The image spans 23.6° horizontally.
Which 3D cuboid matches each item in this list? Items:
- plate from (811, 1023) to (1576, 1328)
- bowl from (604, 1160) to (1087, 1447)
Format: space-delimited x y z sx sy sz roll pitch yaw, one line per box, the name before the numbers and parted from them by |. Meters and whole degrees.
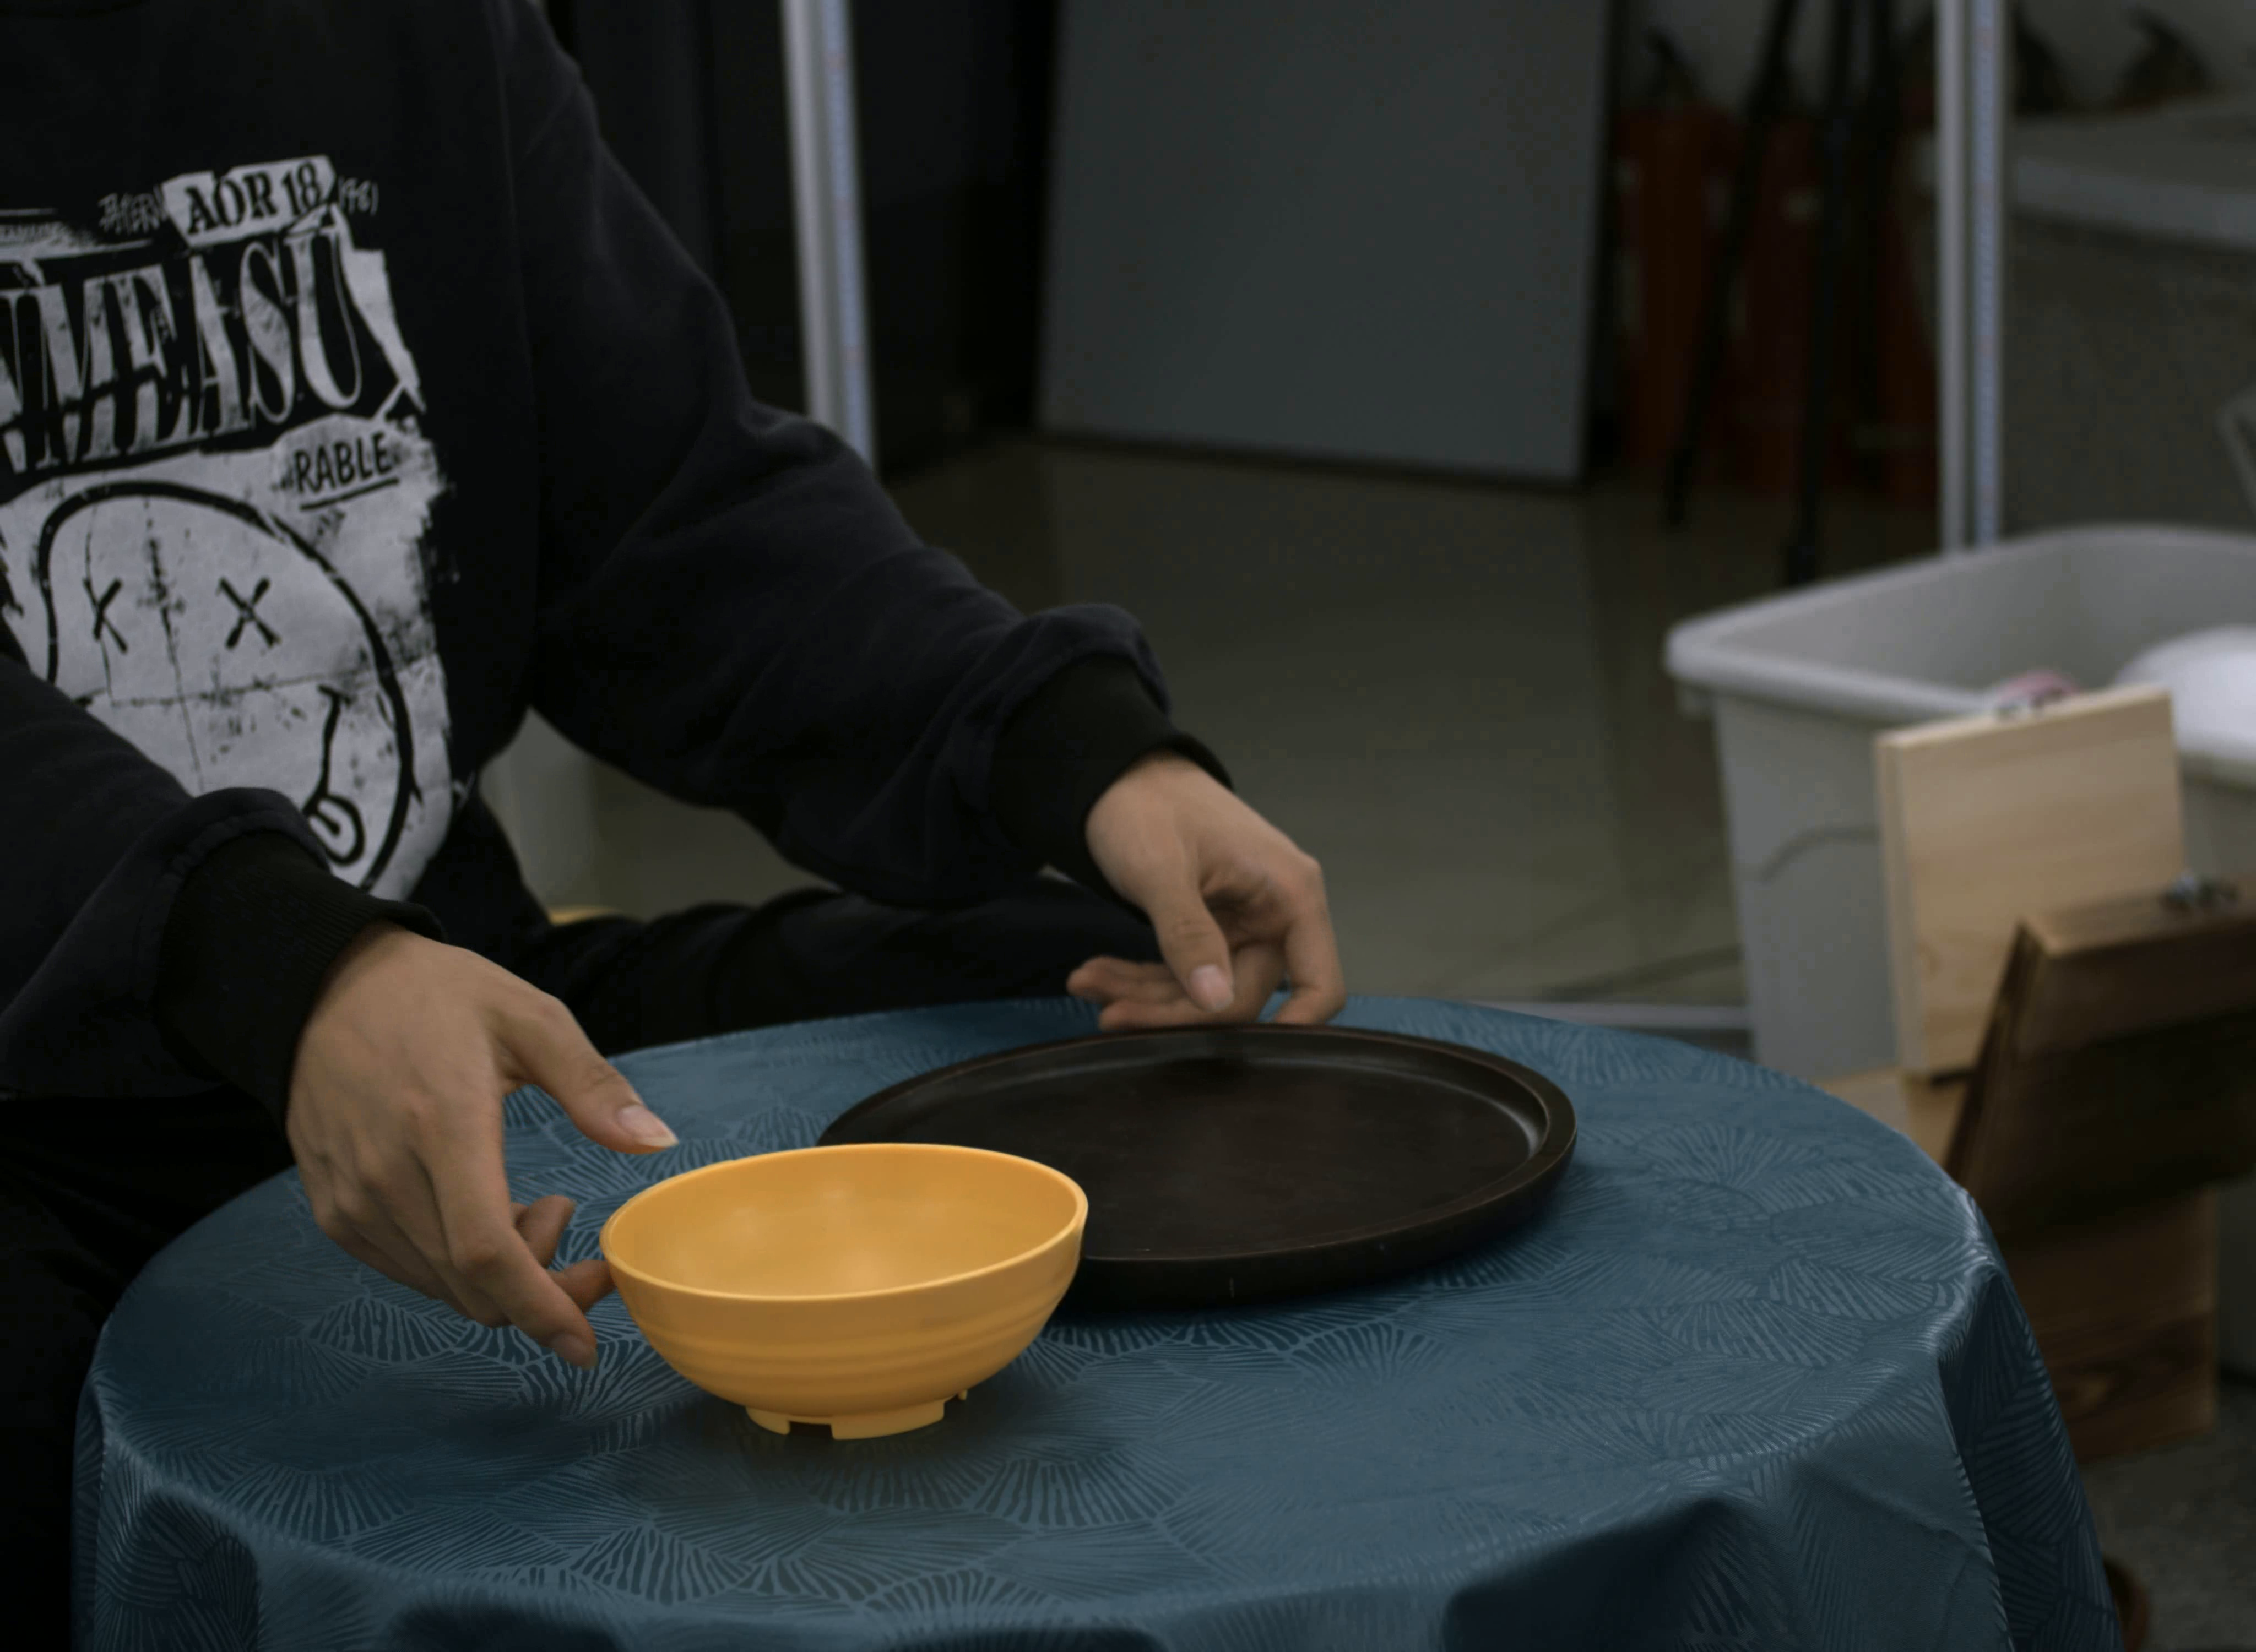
plate | 0.022 0.111 1.760 0.251 0.029 0.255 -6 15 1
bowl | -0.081 0.144 1.585 0.143 0.061 0.145 -4 11 0
